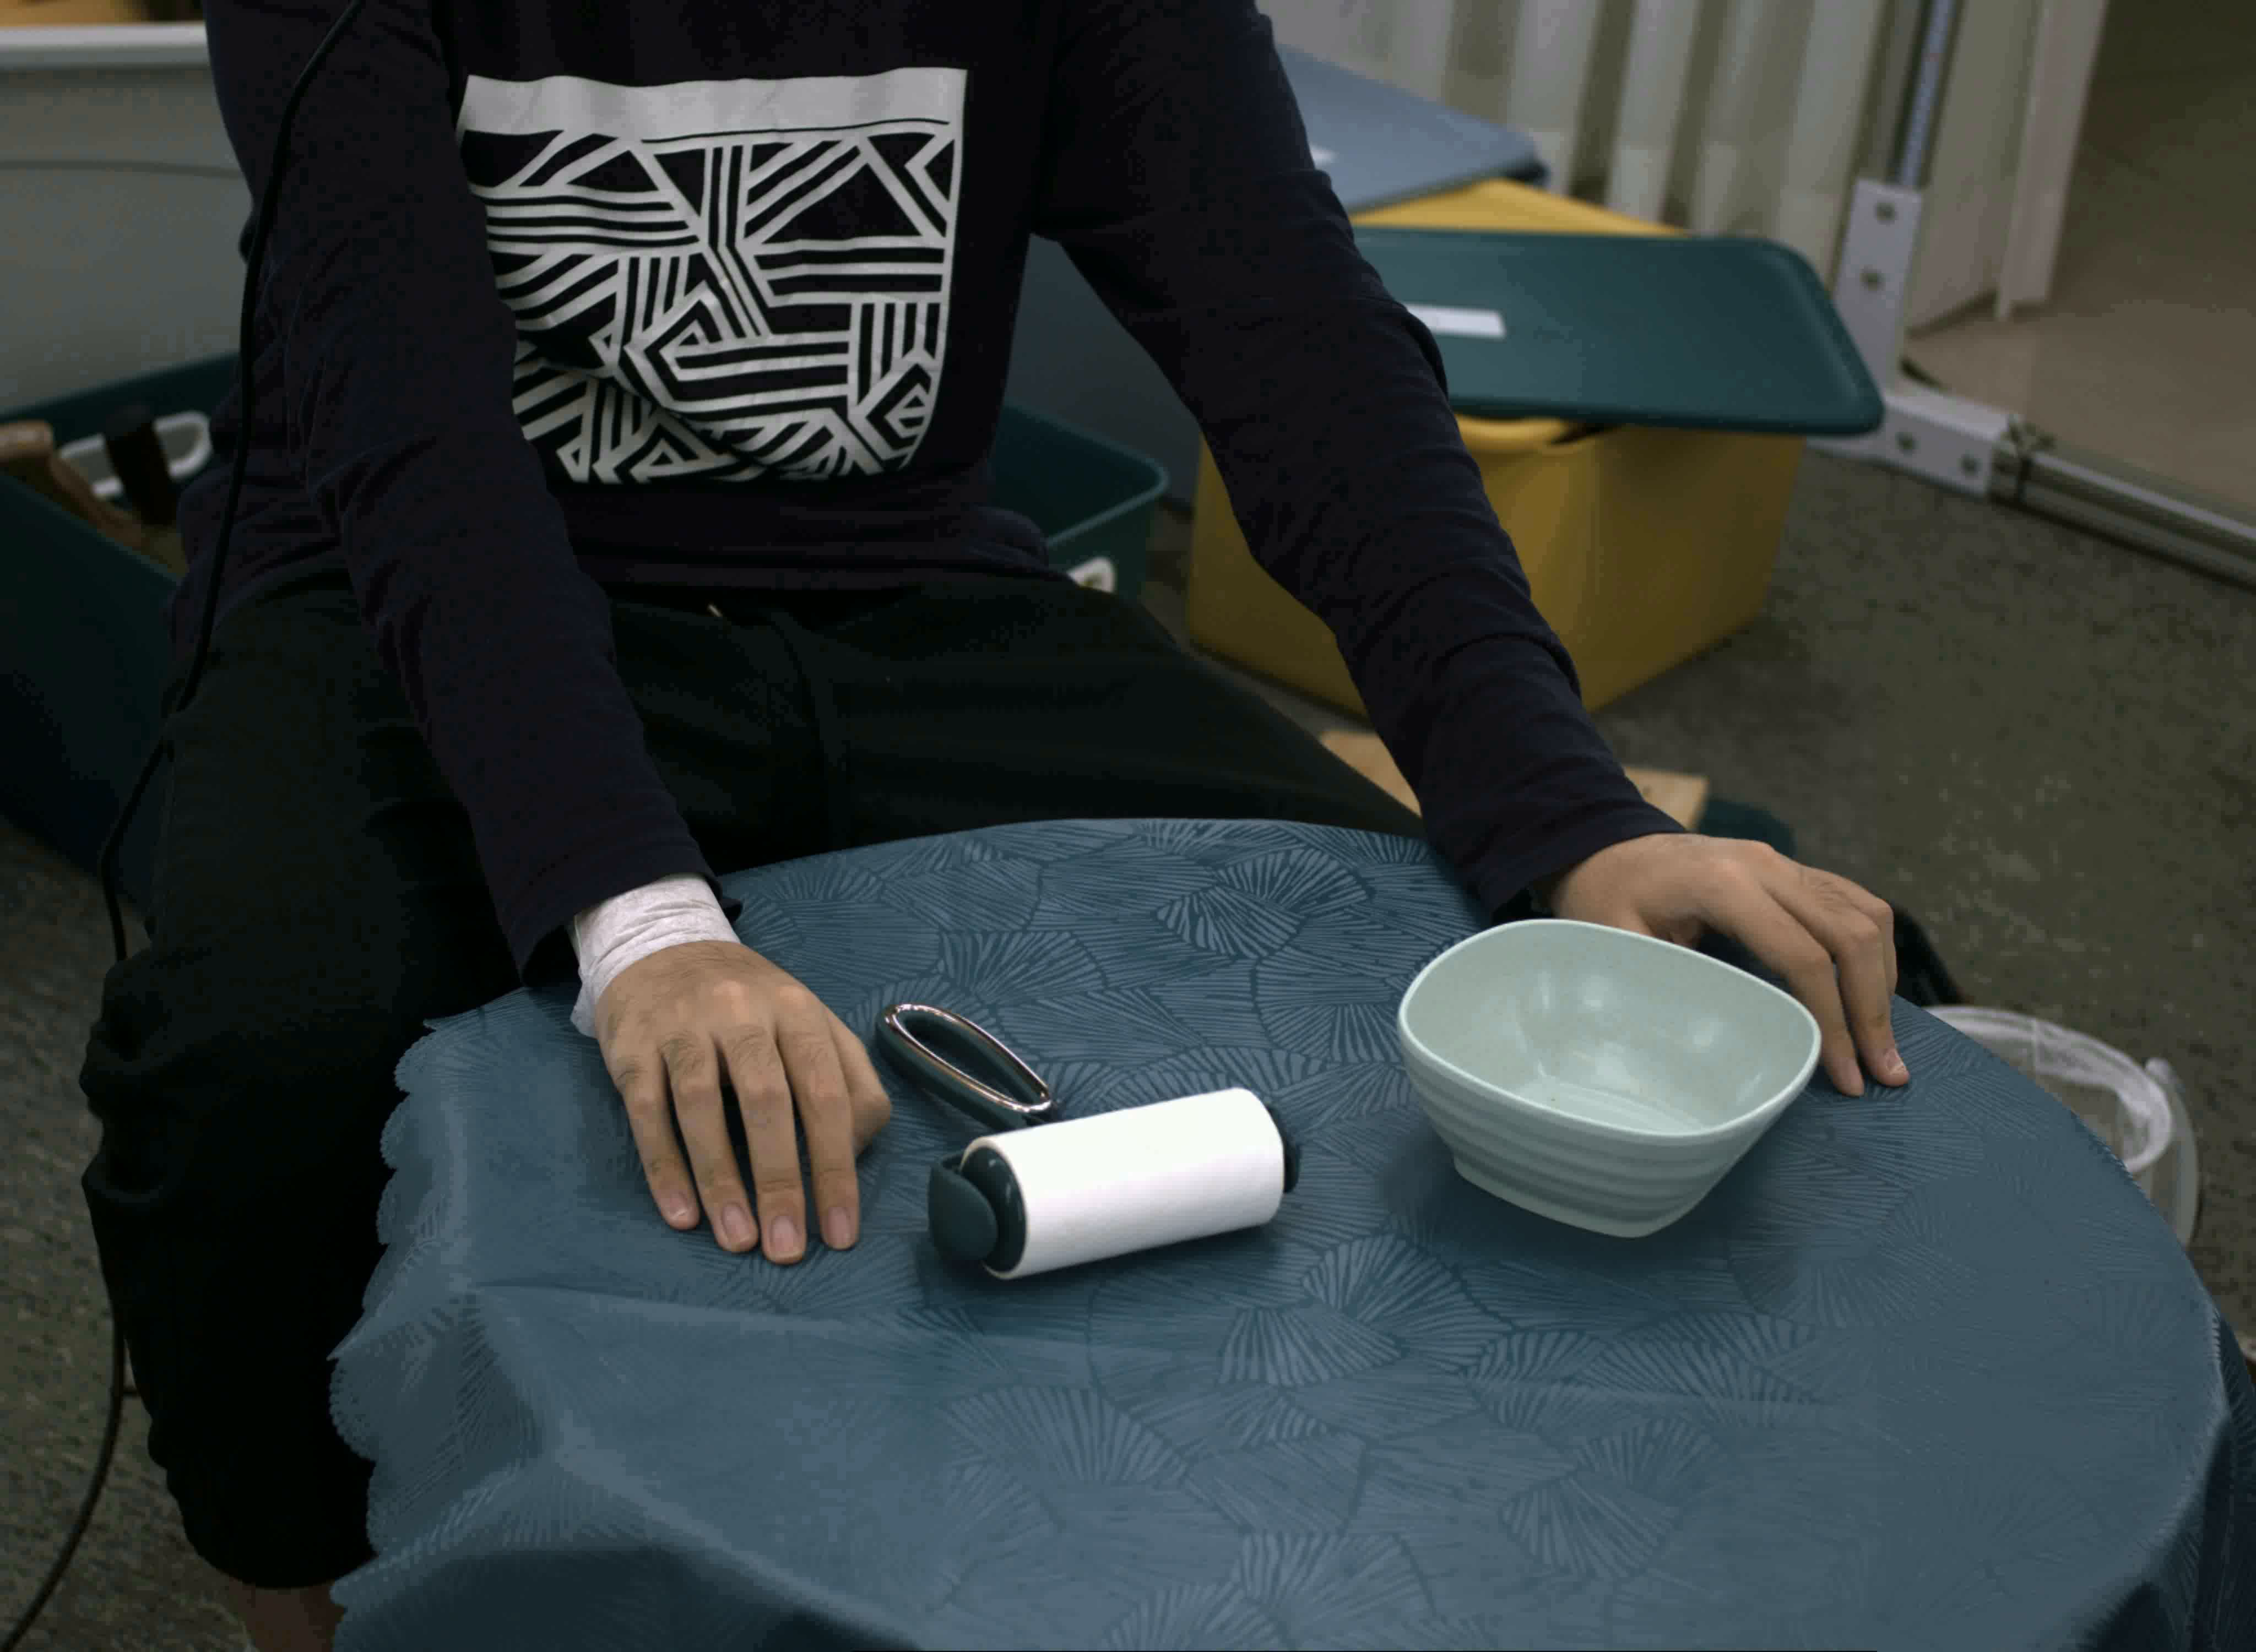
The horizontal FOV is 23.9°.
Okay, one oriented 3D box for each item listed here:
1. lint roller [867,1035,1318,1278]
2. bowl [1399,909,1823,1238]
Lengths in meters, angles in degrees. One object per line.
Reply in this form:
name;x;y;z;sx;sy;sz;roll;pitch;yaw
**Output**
lint roller;-0.037;0.092;1.816;0.133;0.048;0.181;-10;28;-30
bowl;0.163;0.092;1.842;0.151;0.058;0.152;6;29;-4
